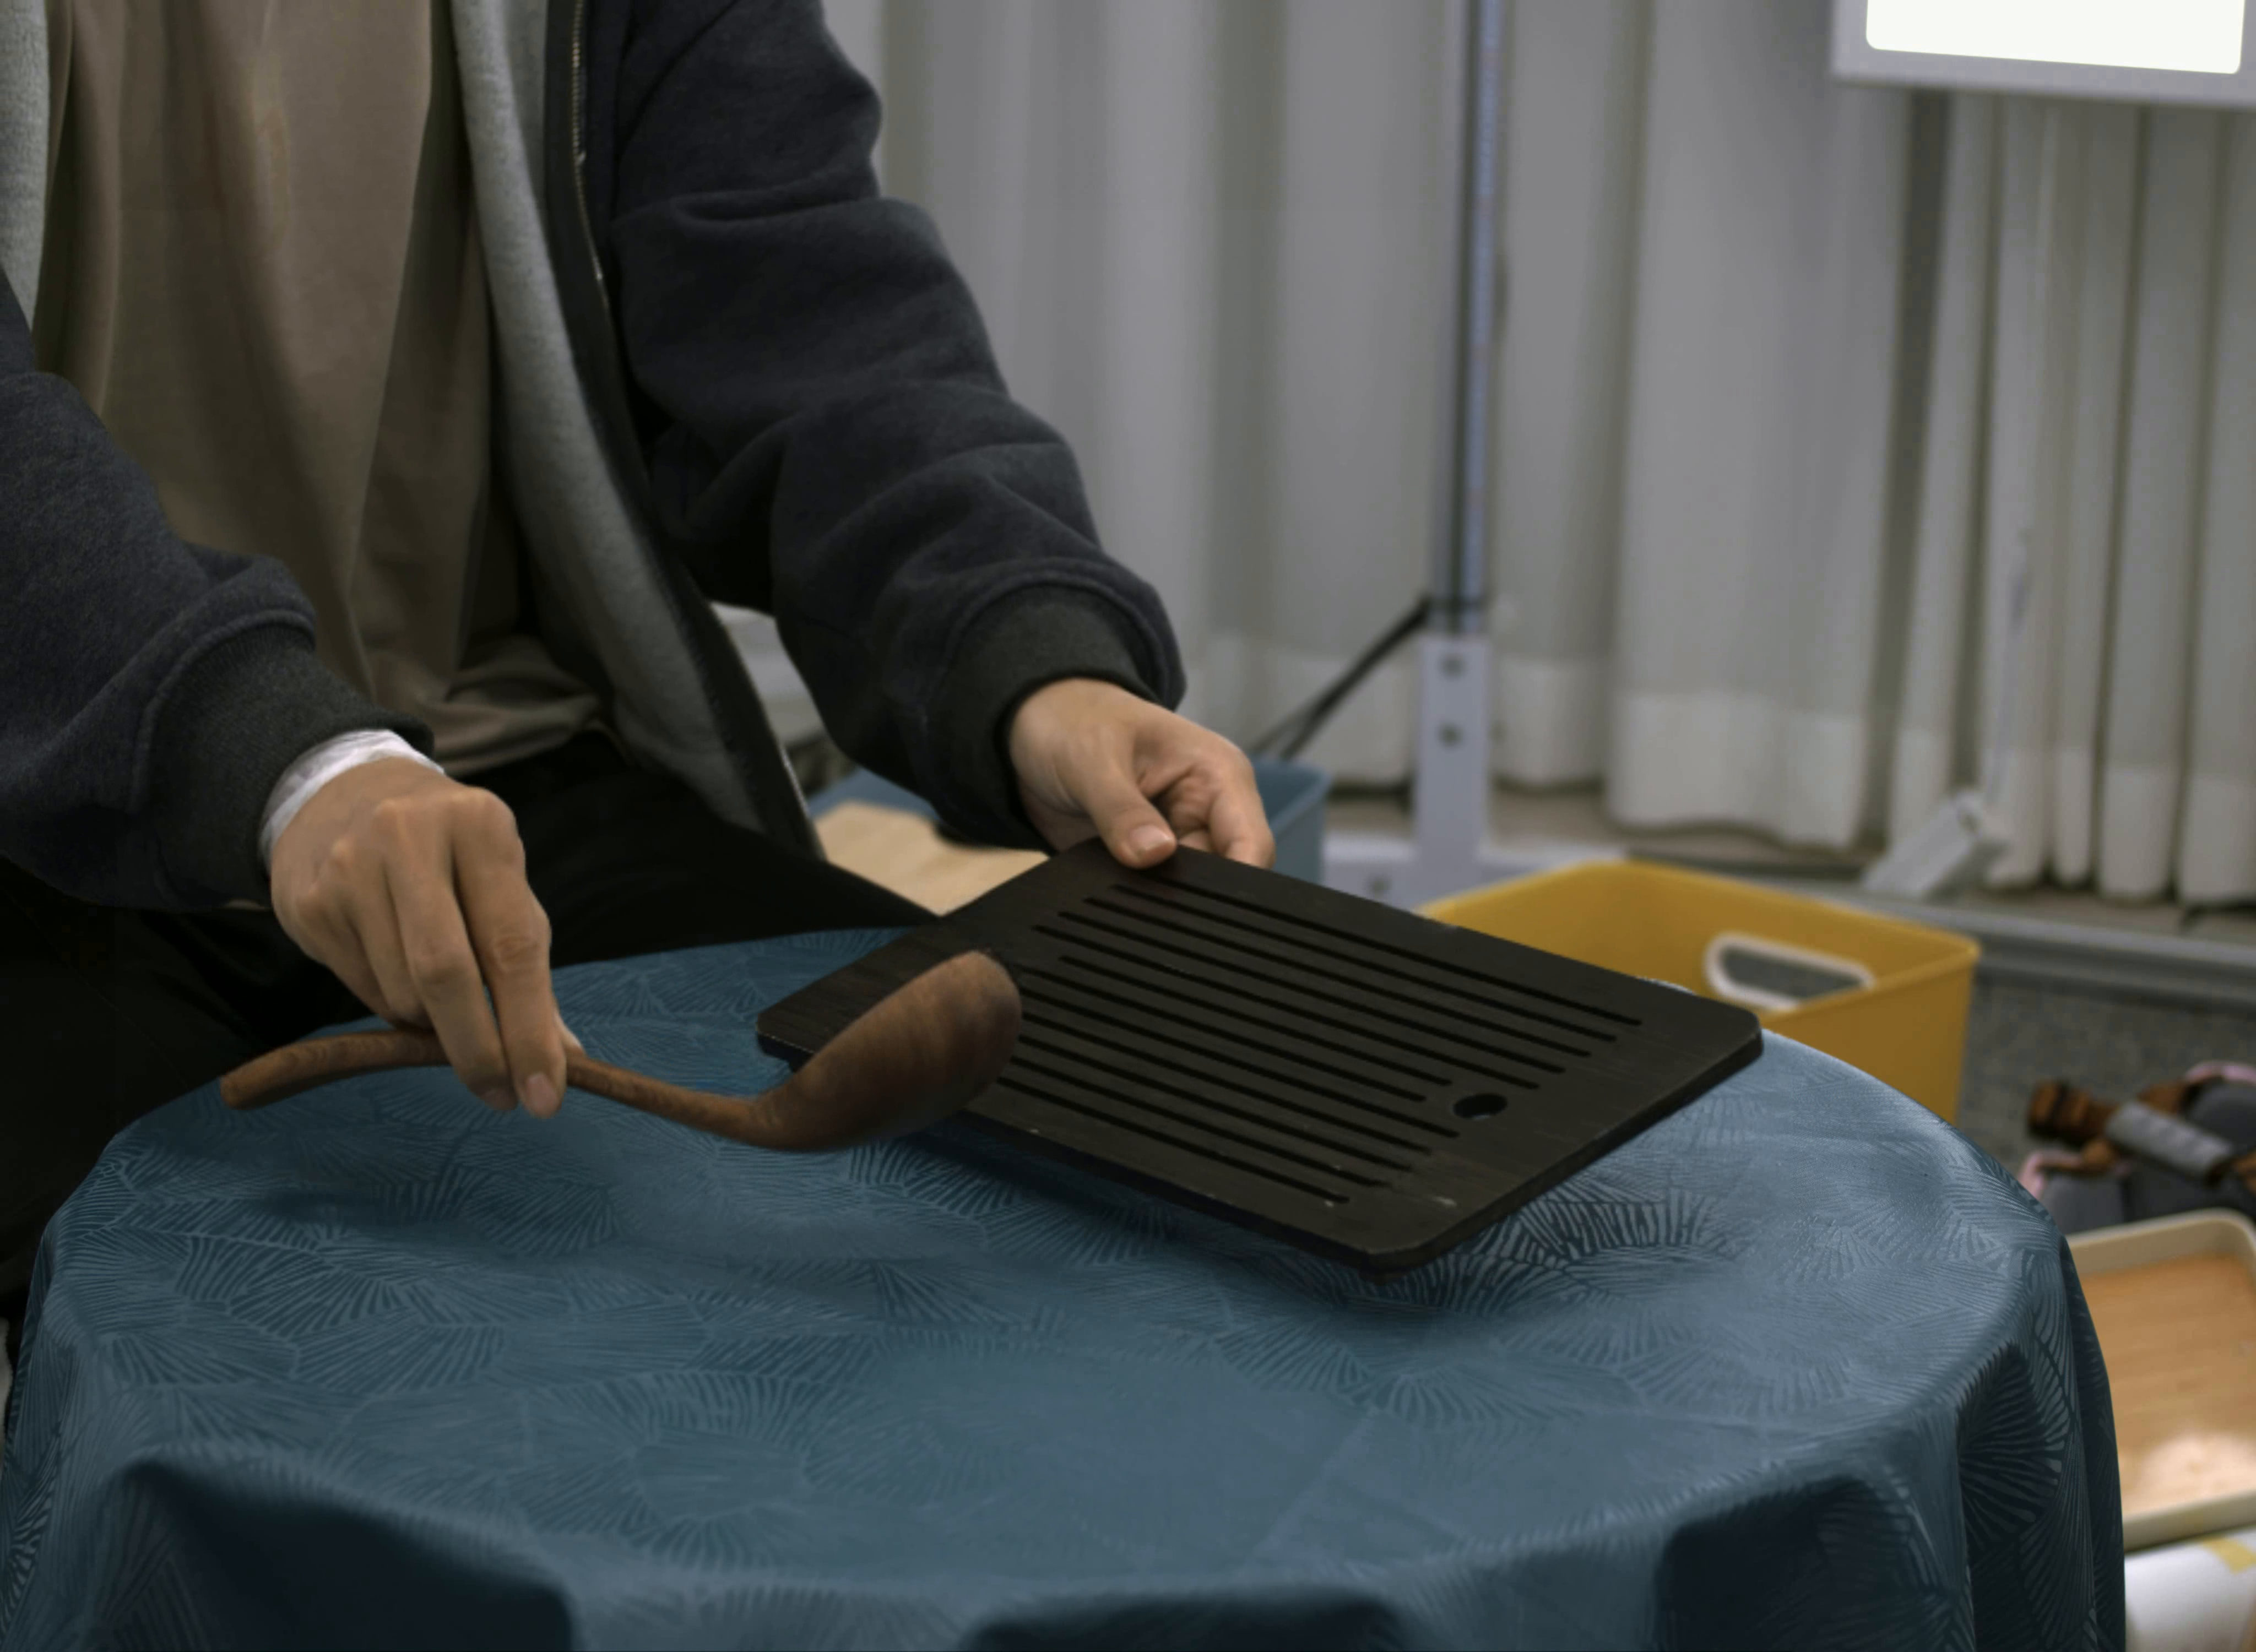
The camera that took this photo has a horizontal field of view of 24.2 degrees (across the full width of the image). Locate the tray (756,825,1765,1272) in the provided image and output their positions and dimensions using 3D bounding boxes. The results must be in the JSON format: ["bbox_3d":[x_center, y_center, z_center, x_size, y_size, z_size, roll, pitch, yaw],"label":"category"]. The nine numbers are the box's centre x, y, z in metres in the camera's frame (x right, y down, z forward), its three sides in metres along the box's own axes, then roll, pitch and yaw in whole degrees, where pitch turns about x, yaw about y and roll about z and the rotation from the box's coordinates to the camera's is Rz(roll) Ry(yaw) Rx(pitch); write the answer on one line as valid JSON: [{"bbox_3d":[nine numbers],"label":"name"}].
[{"bbox_3d":[0.037,0.066,1.653,0.170,0.019,0.302,-28,29,-35],"label":"tray"}]

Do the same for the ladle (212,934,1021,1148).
[{"bbox_3d":[-0.155,0.059,1.567,0.258,0.065,0.077,3,-7,21],"label":"ladle"}]
